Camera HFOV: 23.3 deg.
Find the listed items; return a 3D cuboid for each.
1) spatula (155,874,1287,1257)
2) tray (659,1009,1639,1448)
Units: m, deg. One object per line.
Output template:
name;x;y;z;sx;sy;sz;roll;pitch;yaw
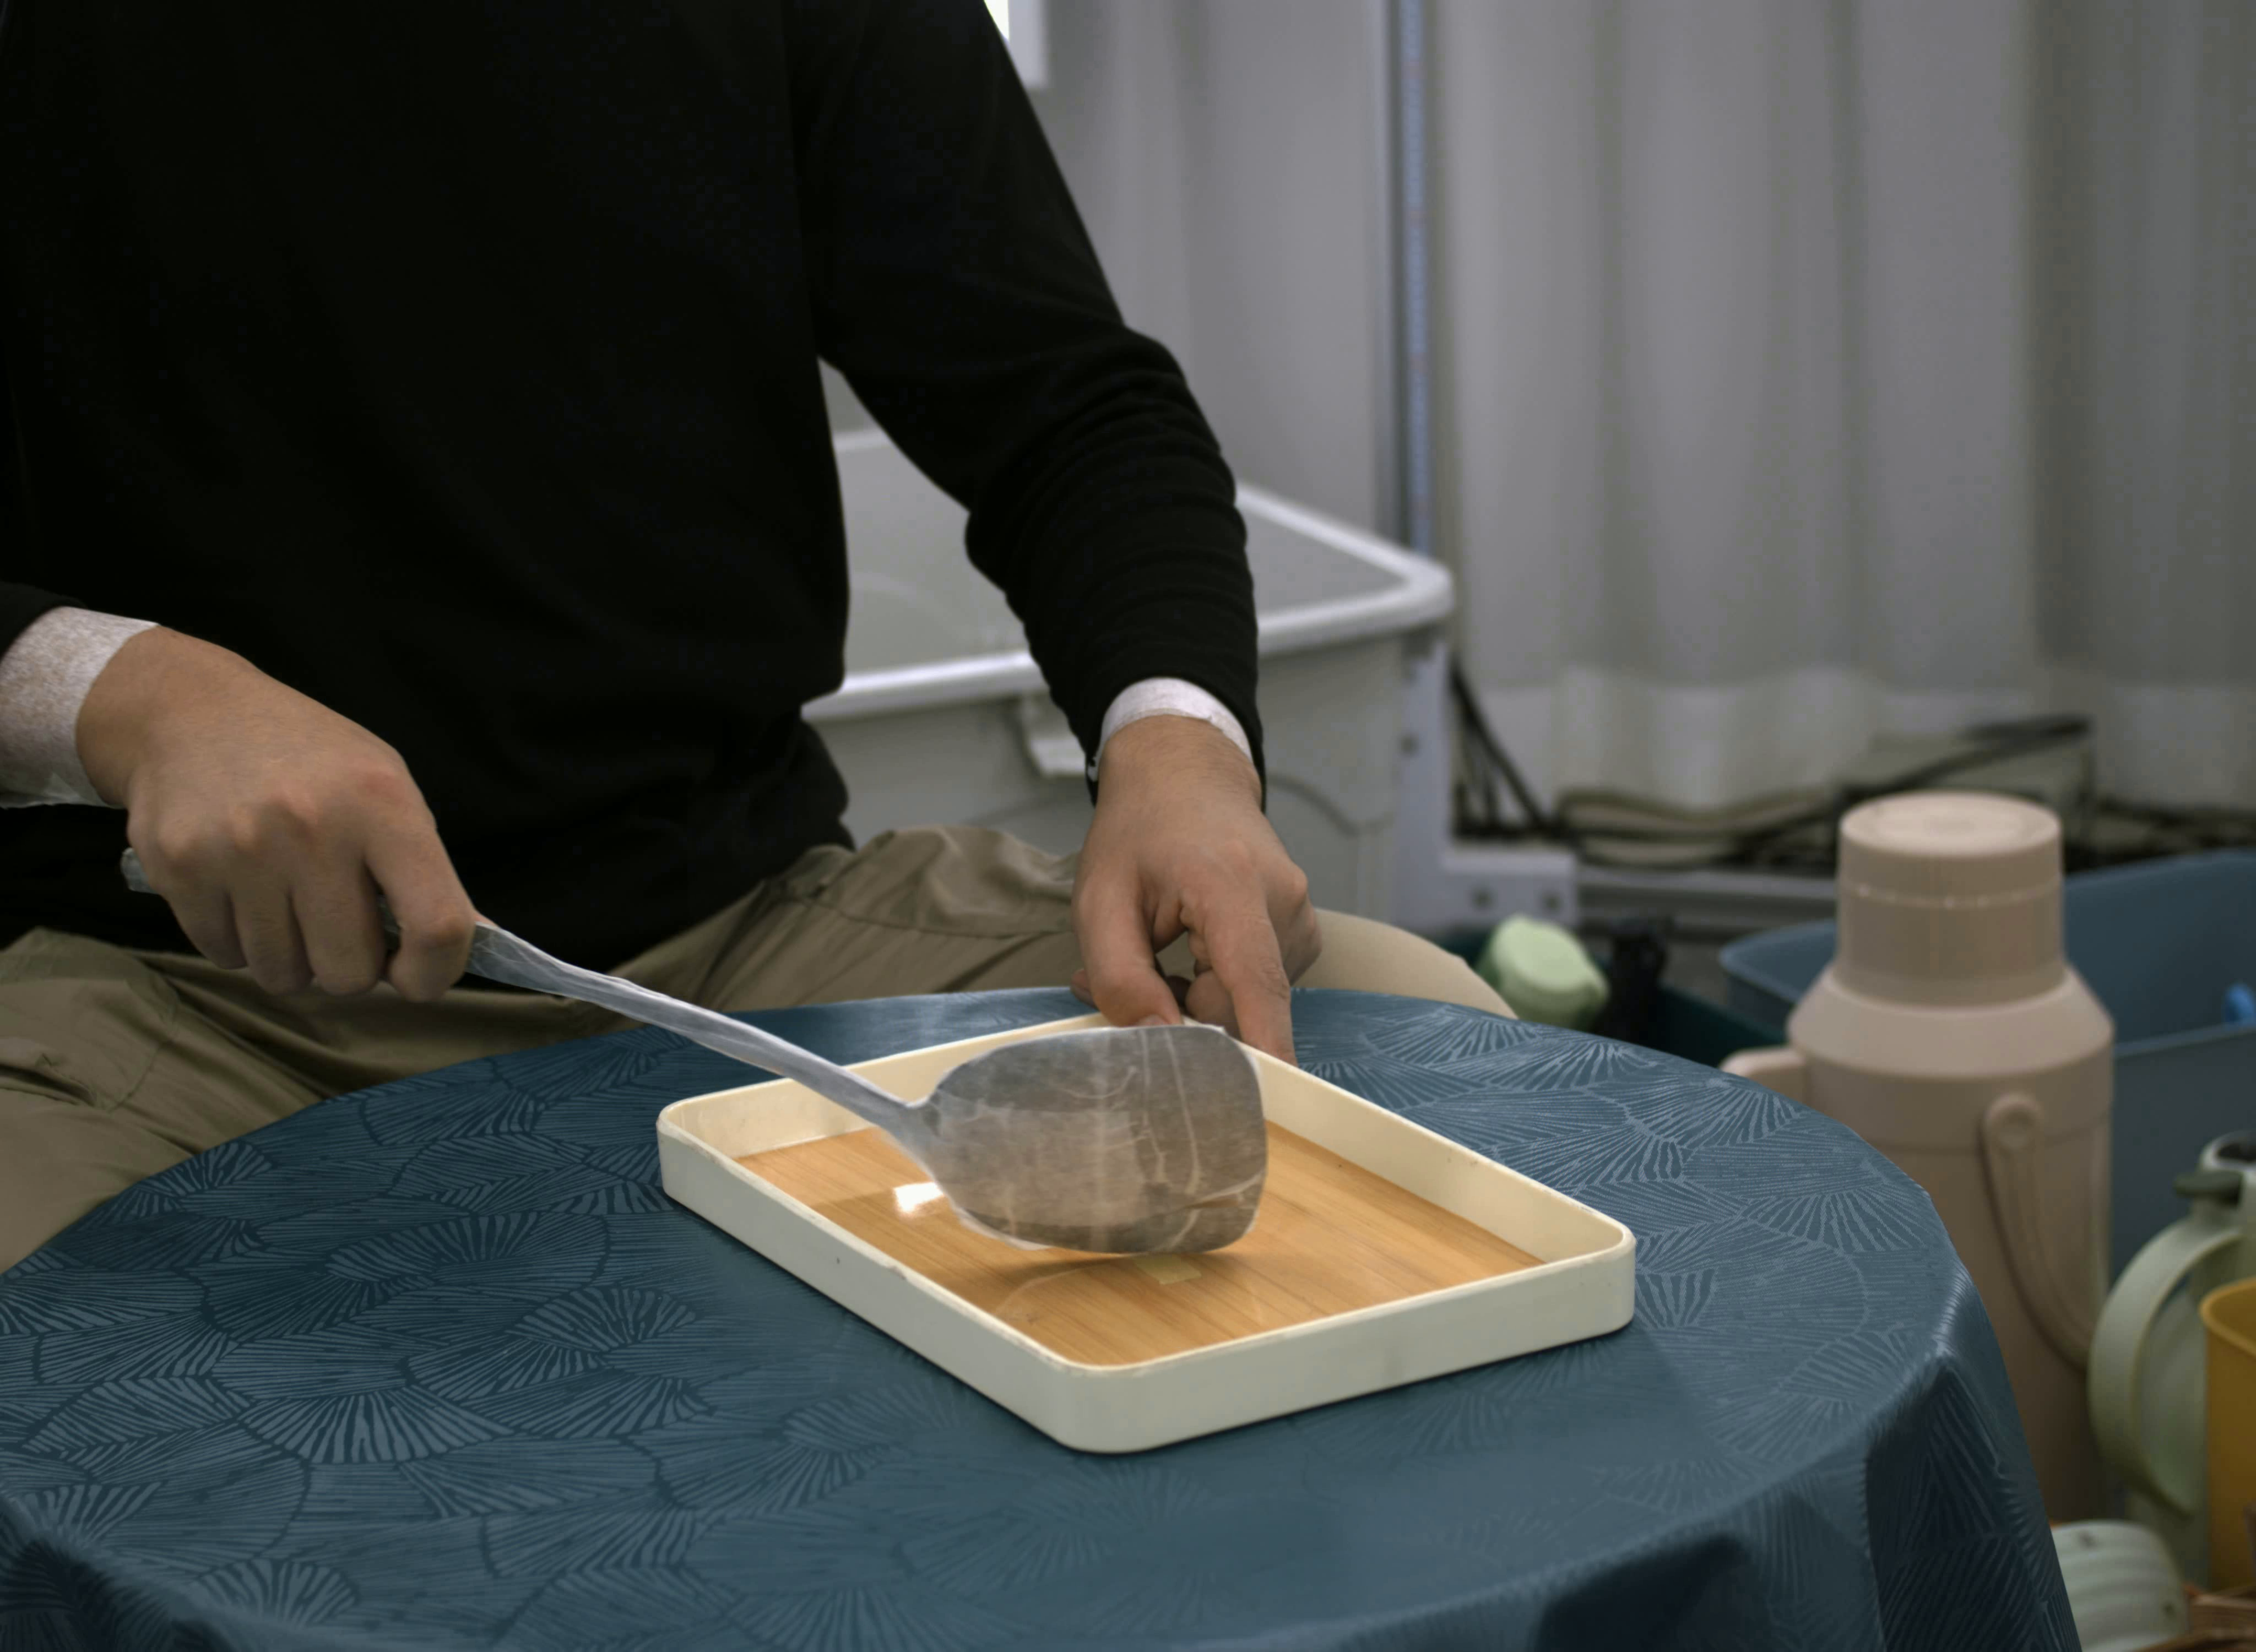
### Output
spatula;-0.128;0.058;1.646;0.366;0.097;0.045;17;45;19
tray;0.000;0.117;1.654;0.191;0.027;0.302;-11;17;-27
